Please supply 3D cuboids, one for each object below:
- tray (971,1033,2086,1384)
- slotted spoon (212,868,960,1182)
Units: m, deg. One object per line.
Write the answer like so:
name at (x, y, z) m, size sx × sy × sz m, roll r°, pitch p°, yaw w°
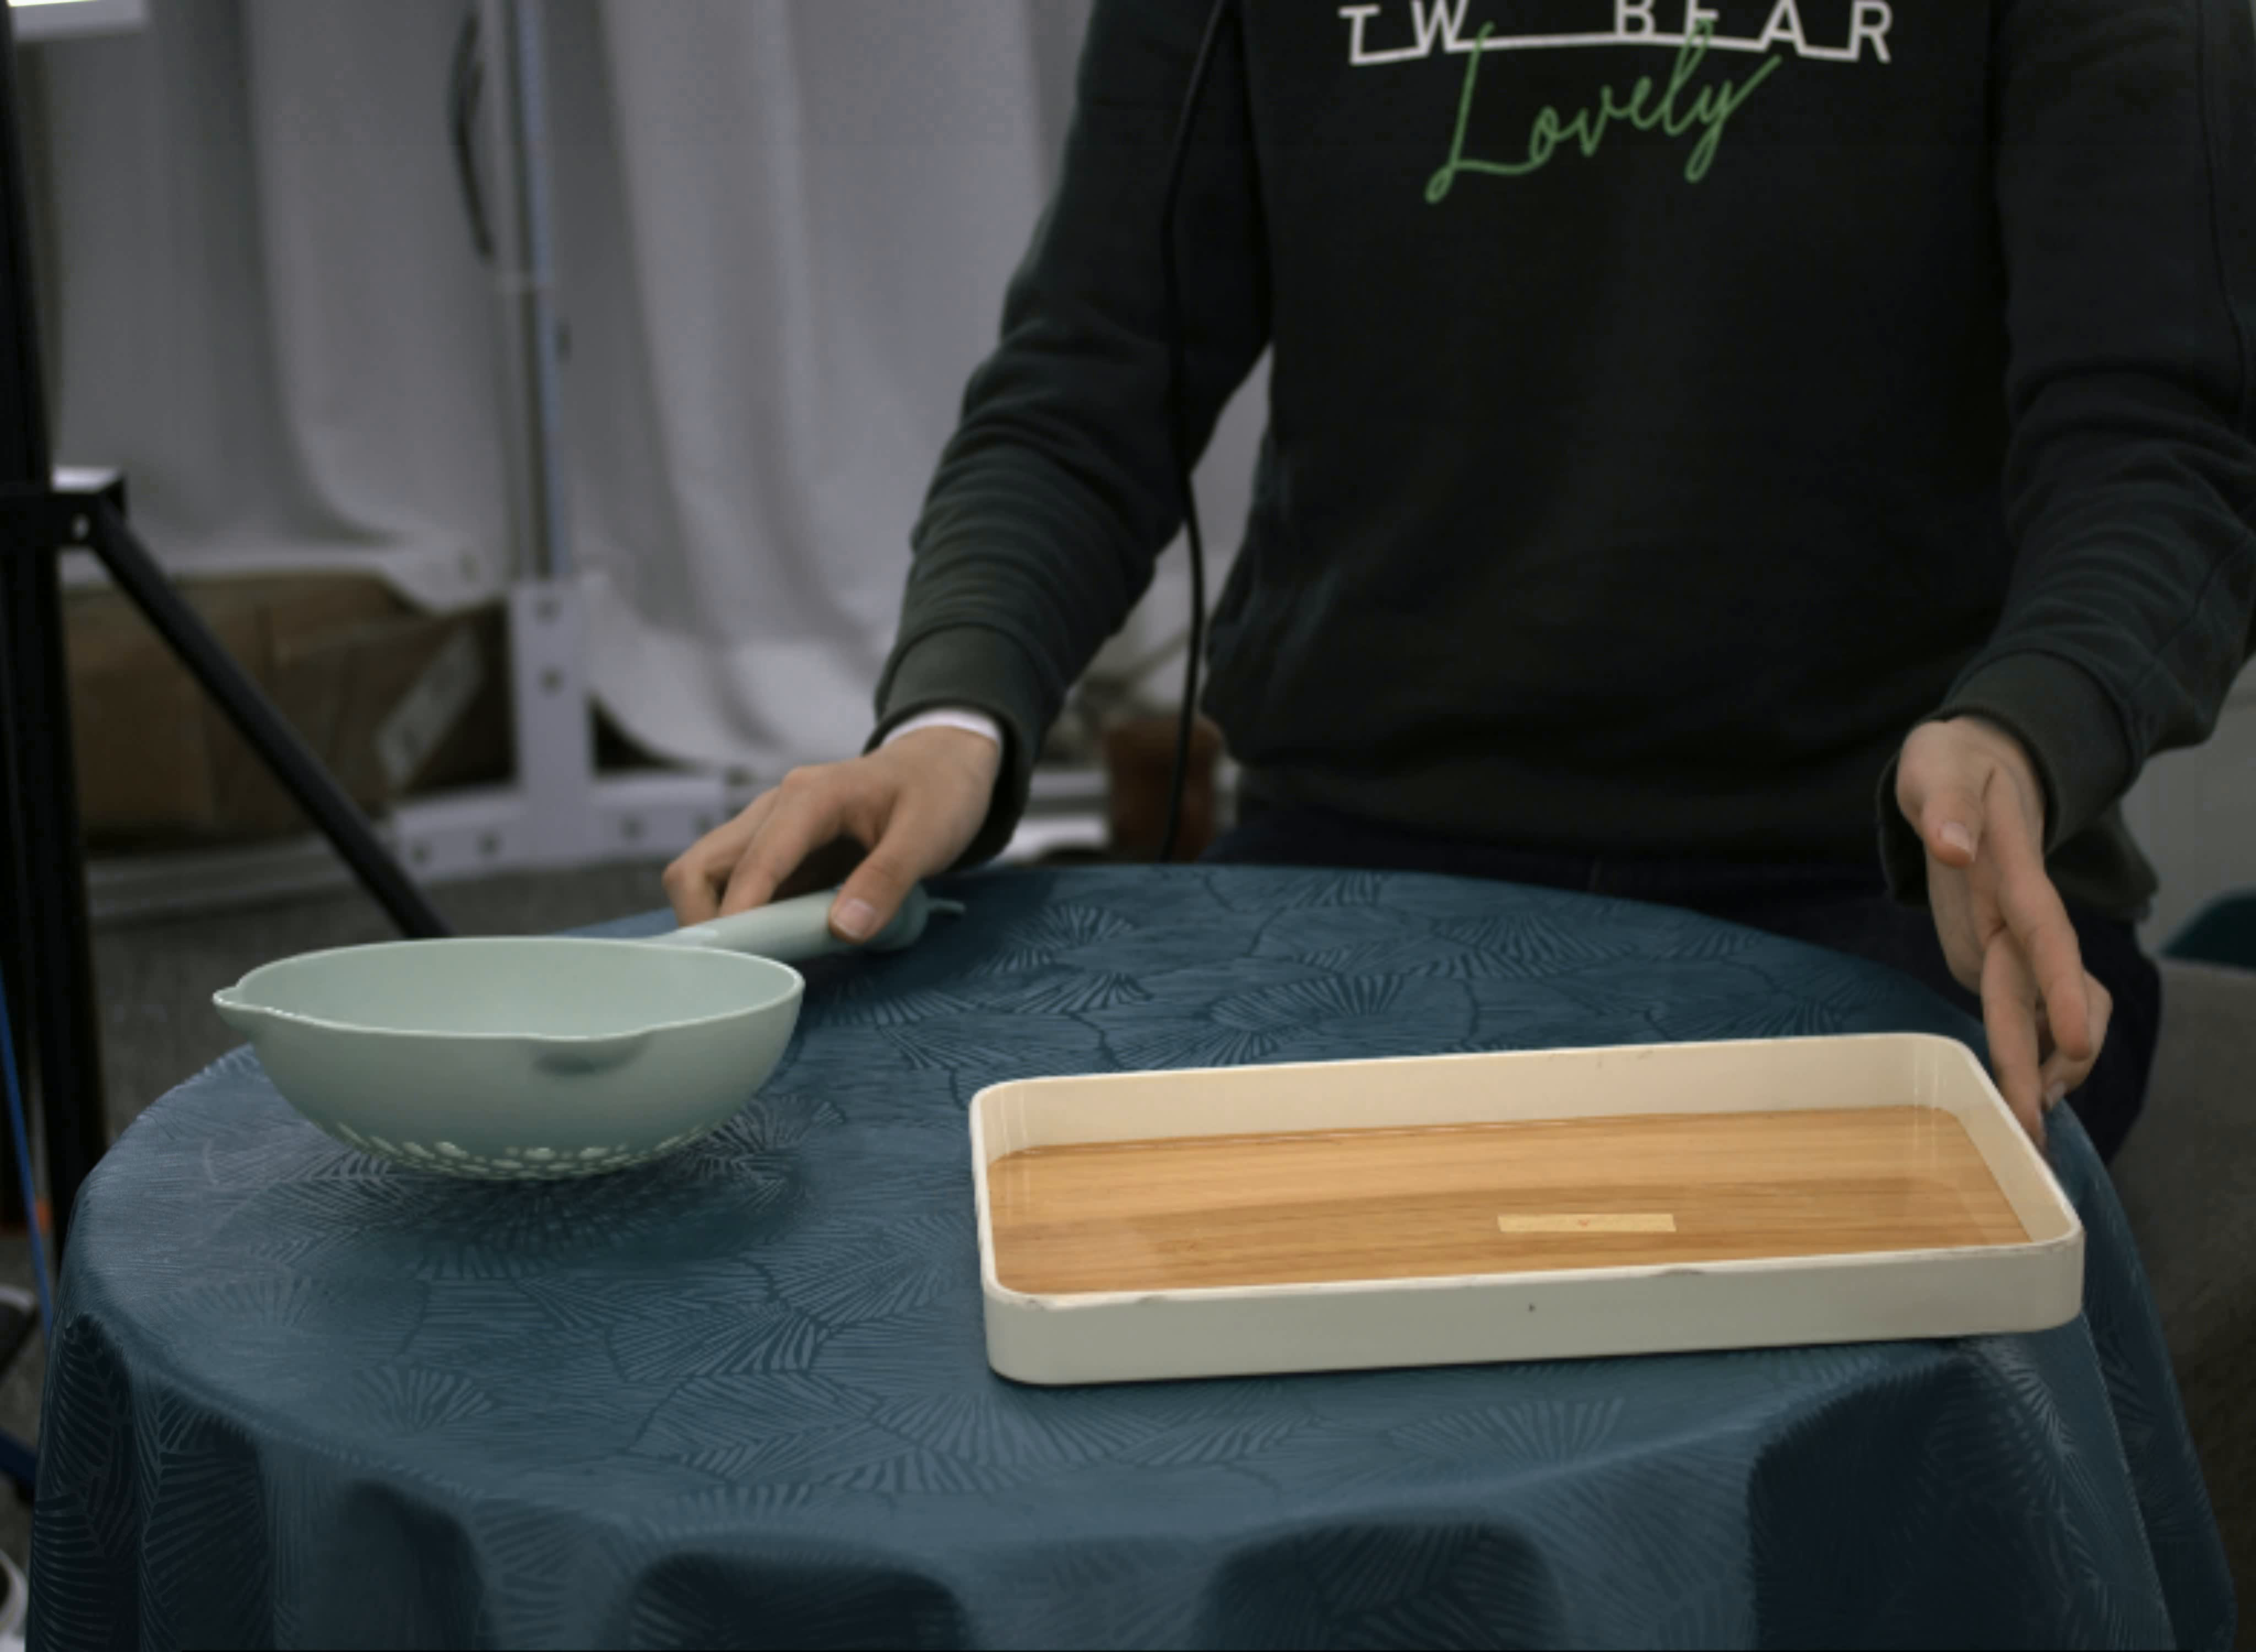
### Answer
tray at (0.107, 0.107, 1.497) m, size 0.299 × 0.027 × 0.192 m, roll -2°, pitch 16°, yaw 0°
slotted spoon at (-0.140, 0.047, 1.679) m, size 0.172 × 0.075 × 0.353 m, roll 4°, pitch 17°, yaw 25°
